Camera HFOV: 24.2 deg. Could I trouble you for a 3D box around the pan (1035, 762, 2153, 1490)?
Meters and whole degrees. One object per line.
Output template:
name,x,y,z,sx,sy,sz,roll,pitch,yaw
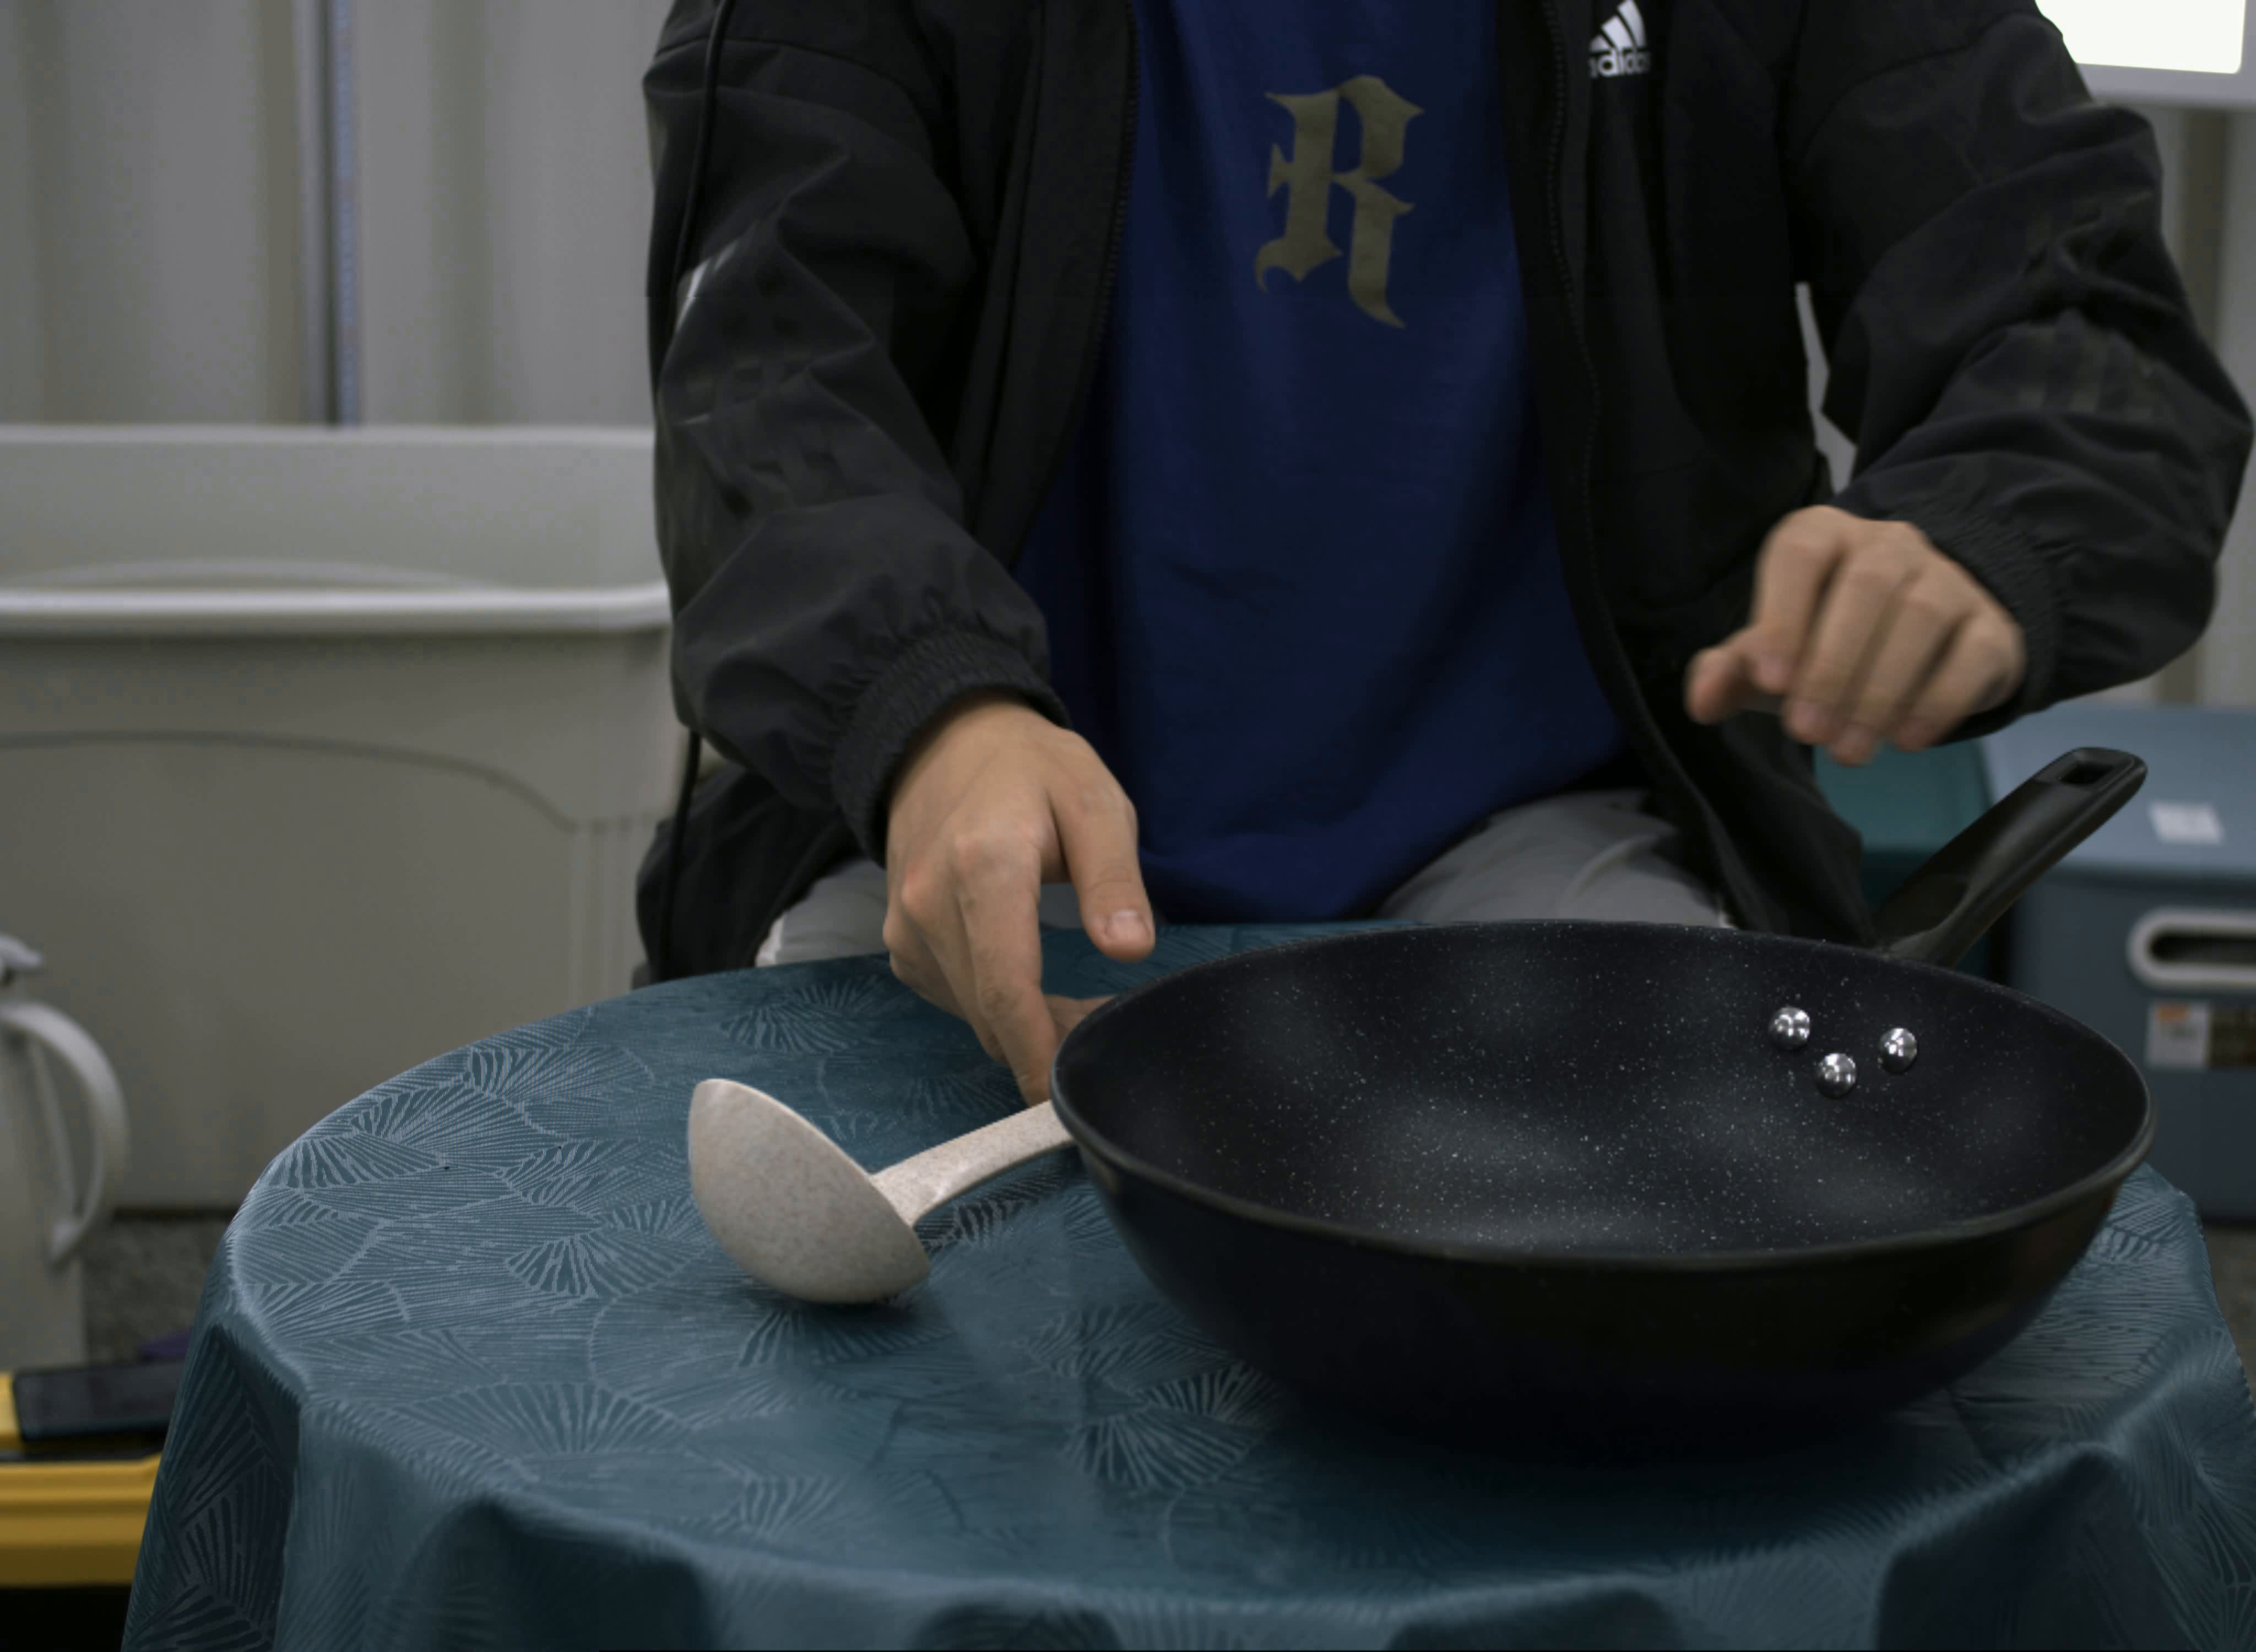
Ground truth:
pan,0.177,0.083,1.535,0.306,0.112,0.479,13,20,33

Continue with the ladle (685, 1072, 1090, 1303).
ladle,-0.031,0.083,1.604,0.088,0.070,0.276,27,25,27
